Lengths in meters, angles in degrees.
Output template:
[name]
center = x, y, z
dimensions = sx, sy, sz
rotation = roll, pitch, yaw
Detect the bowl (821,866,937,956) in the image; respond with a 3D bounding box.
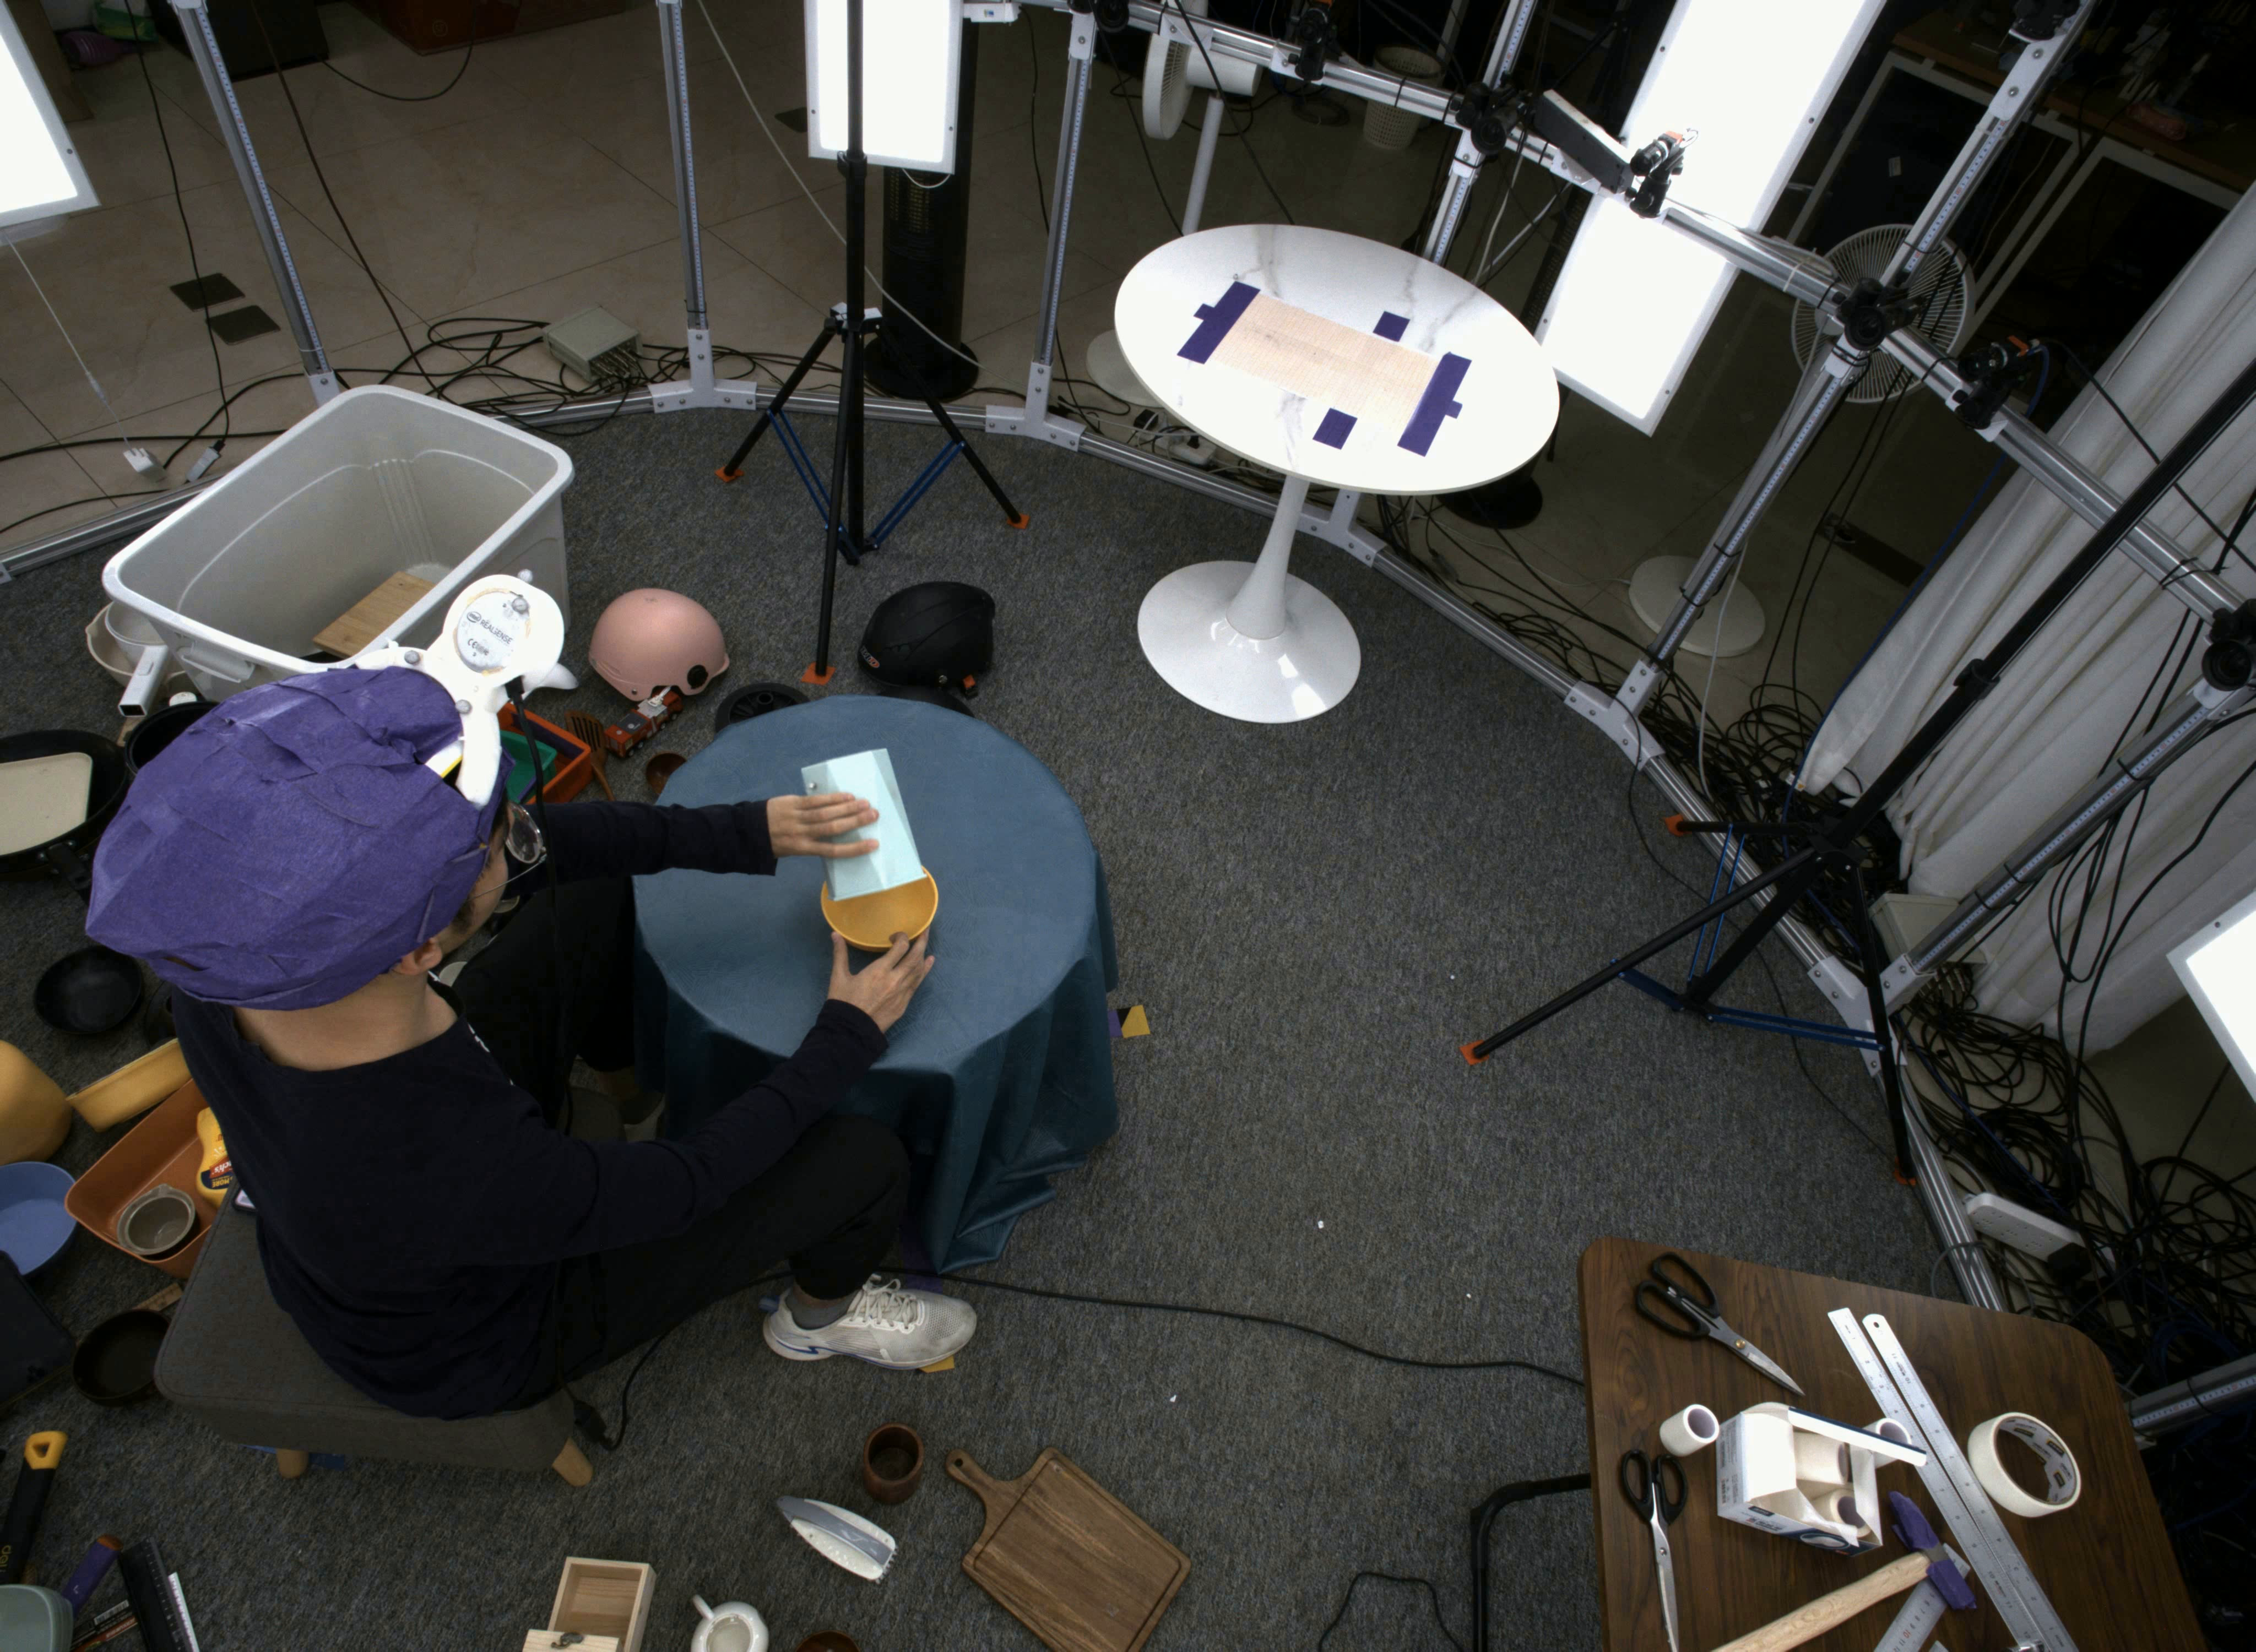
[bowl]
center = -0.312, 0.108, 1.639
dimensions = 0.144, 0.061, 0.143
rotation = 6, 53, -6

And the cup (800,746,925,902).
[cup]
center = -0.321, -0.005, 1.552
dimensions = 0.115, 0.128, 0.166
rotation = -14, 96, -17
